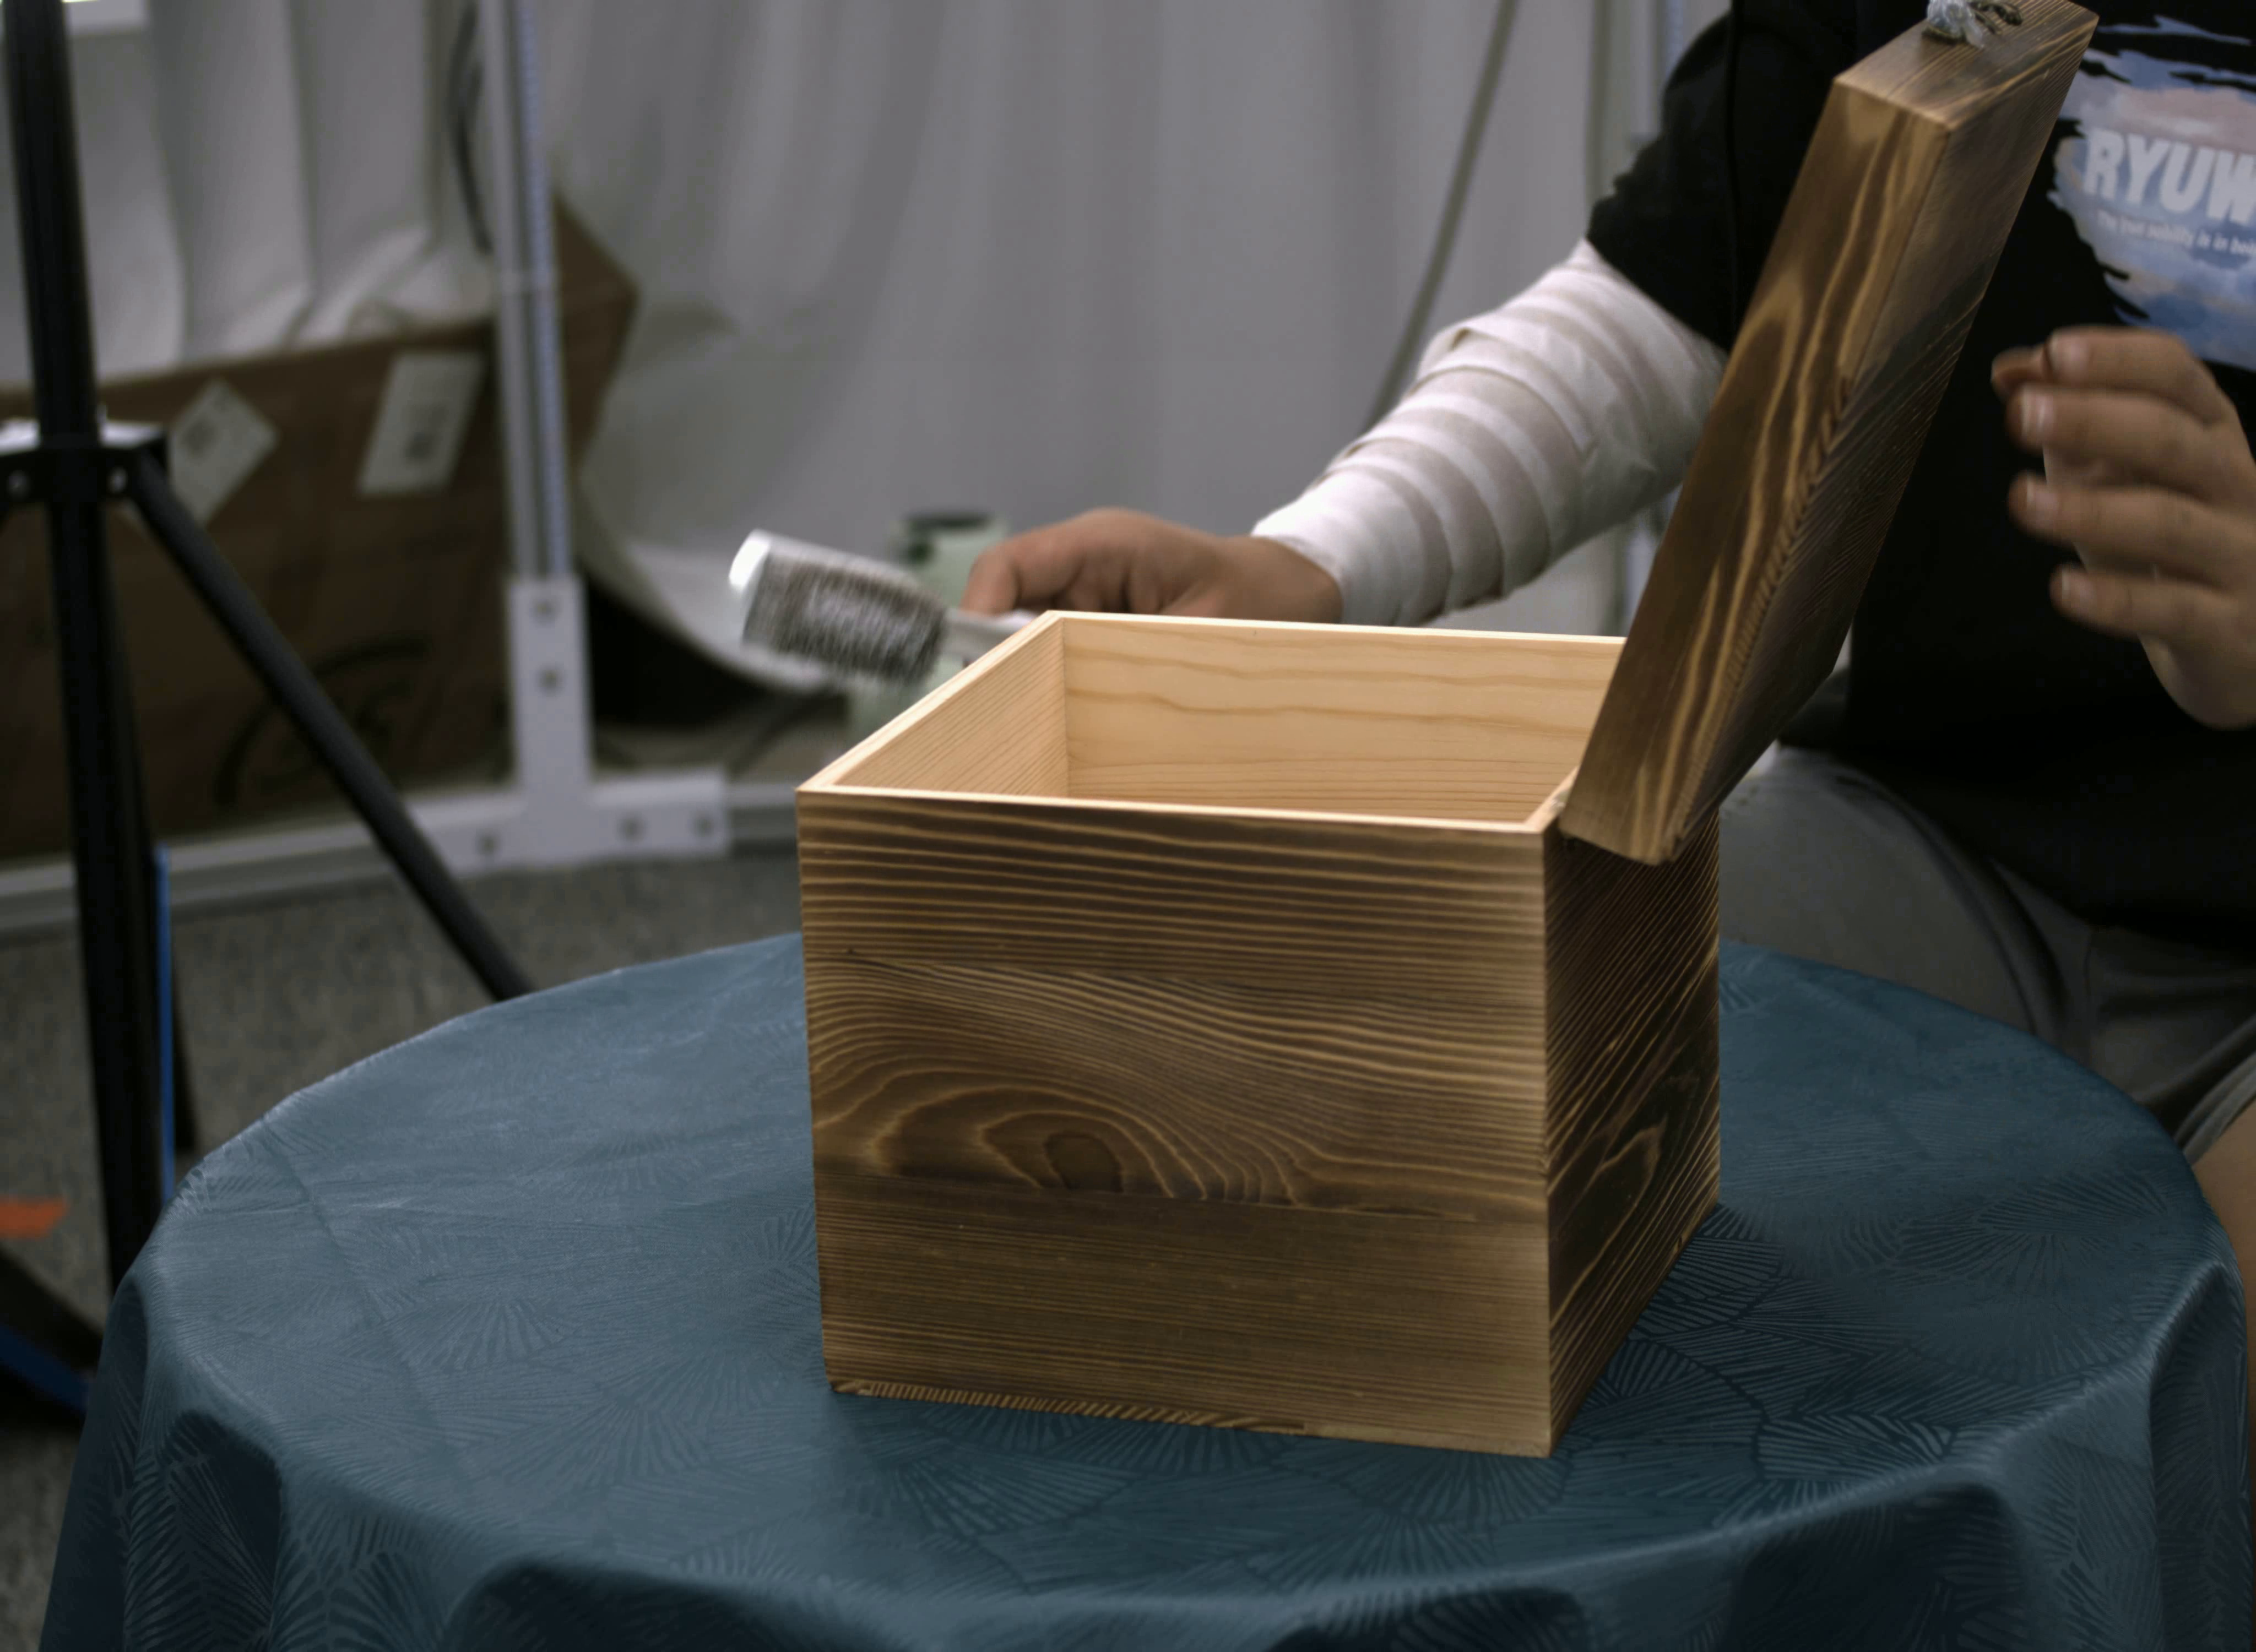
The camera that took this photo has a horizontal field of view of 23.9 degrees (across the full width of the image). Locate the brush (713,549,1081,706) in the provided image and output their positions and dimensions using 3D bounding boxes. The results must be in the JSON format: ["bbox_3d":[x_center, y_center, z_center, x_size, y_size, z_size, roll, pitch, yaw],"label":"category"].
[{"bbox_3d":[-0.043,-0.049,1.677,0.051,0.034,0.237,23,6,36],"label":"brush"}]

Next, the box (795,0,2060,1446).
[{"bbox_3d":[0.089,-0.042,1.412,0.326,0.375,0.206,3,15,20],"label":"box"}]
